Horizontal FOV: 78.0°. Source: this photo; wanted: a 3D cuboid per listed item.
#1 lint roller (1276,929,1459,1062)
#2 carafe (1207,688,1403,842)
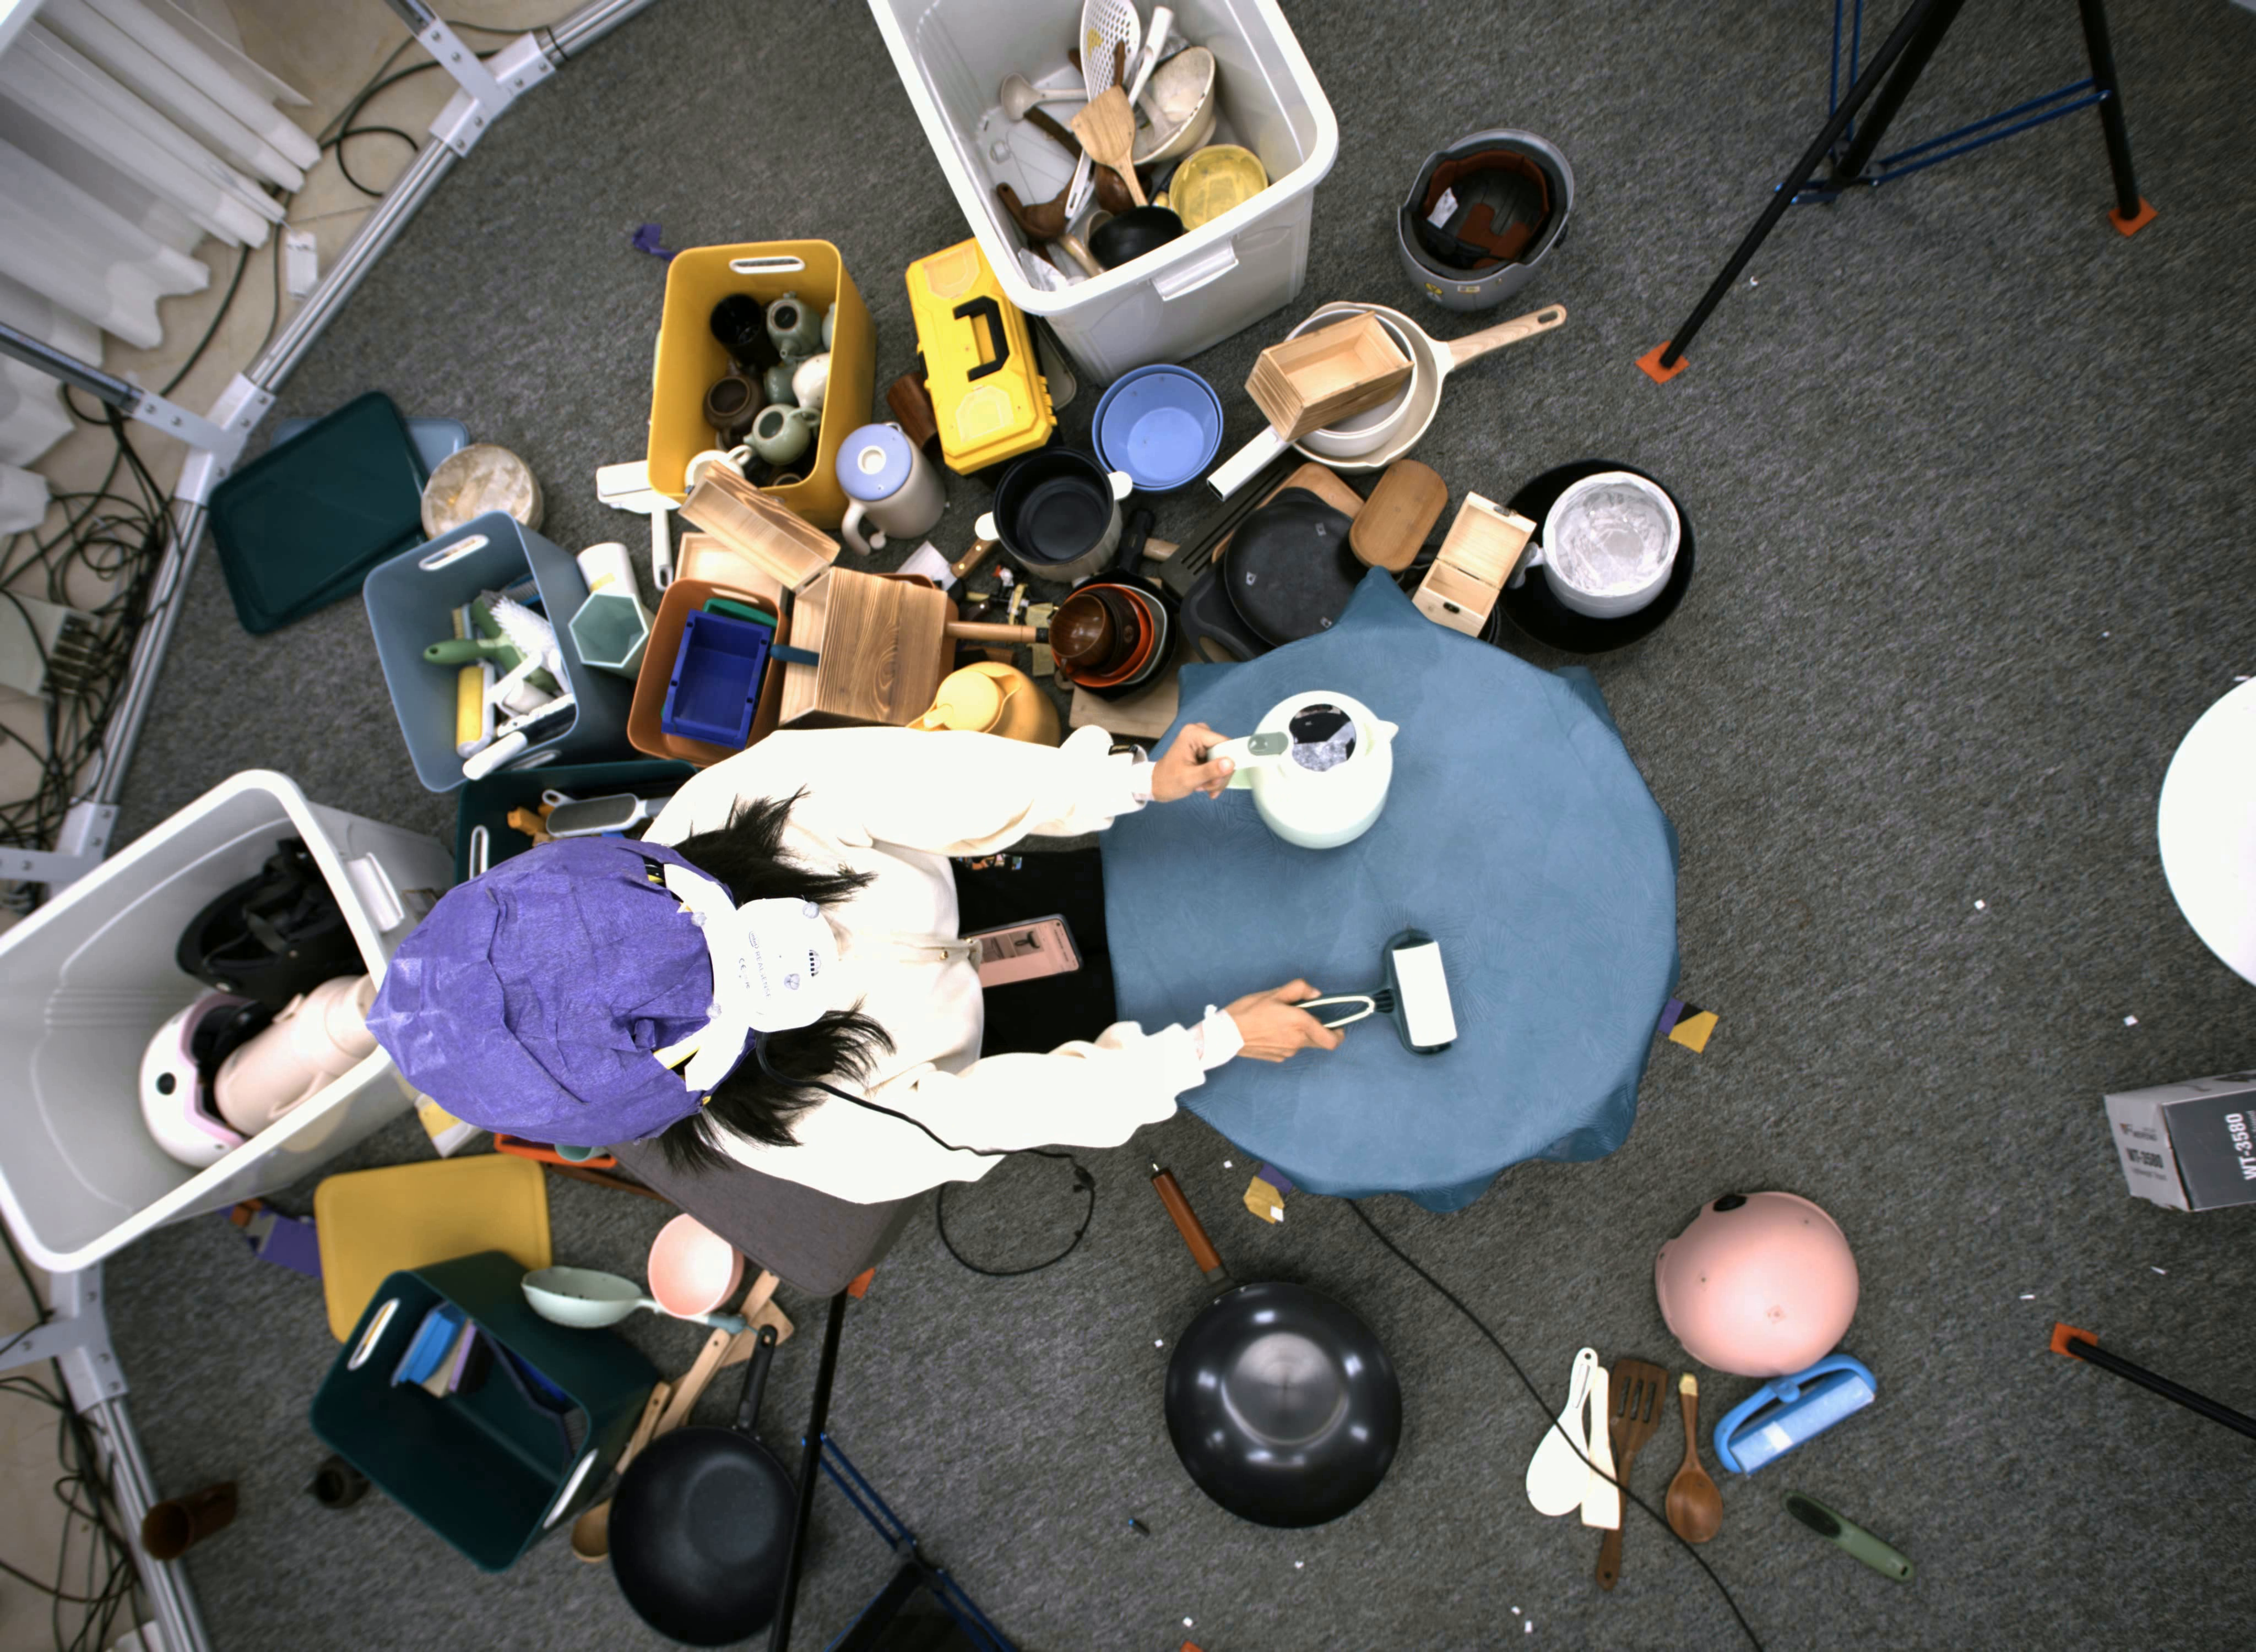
[{"bbox_3d":[0.242,0.185,1.414,0.180,0.048,0.134,-11,90,-3],"label":"lint roller"},{"bbox_3d":[0.177,-0.065,1.357,0.188,0.257,0.143,-6,85,11],"label":"carafe"}]
